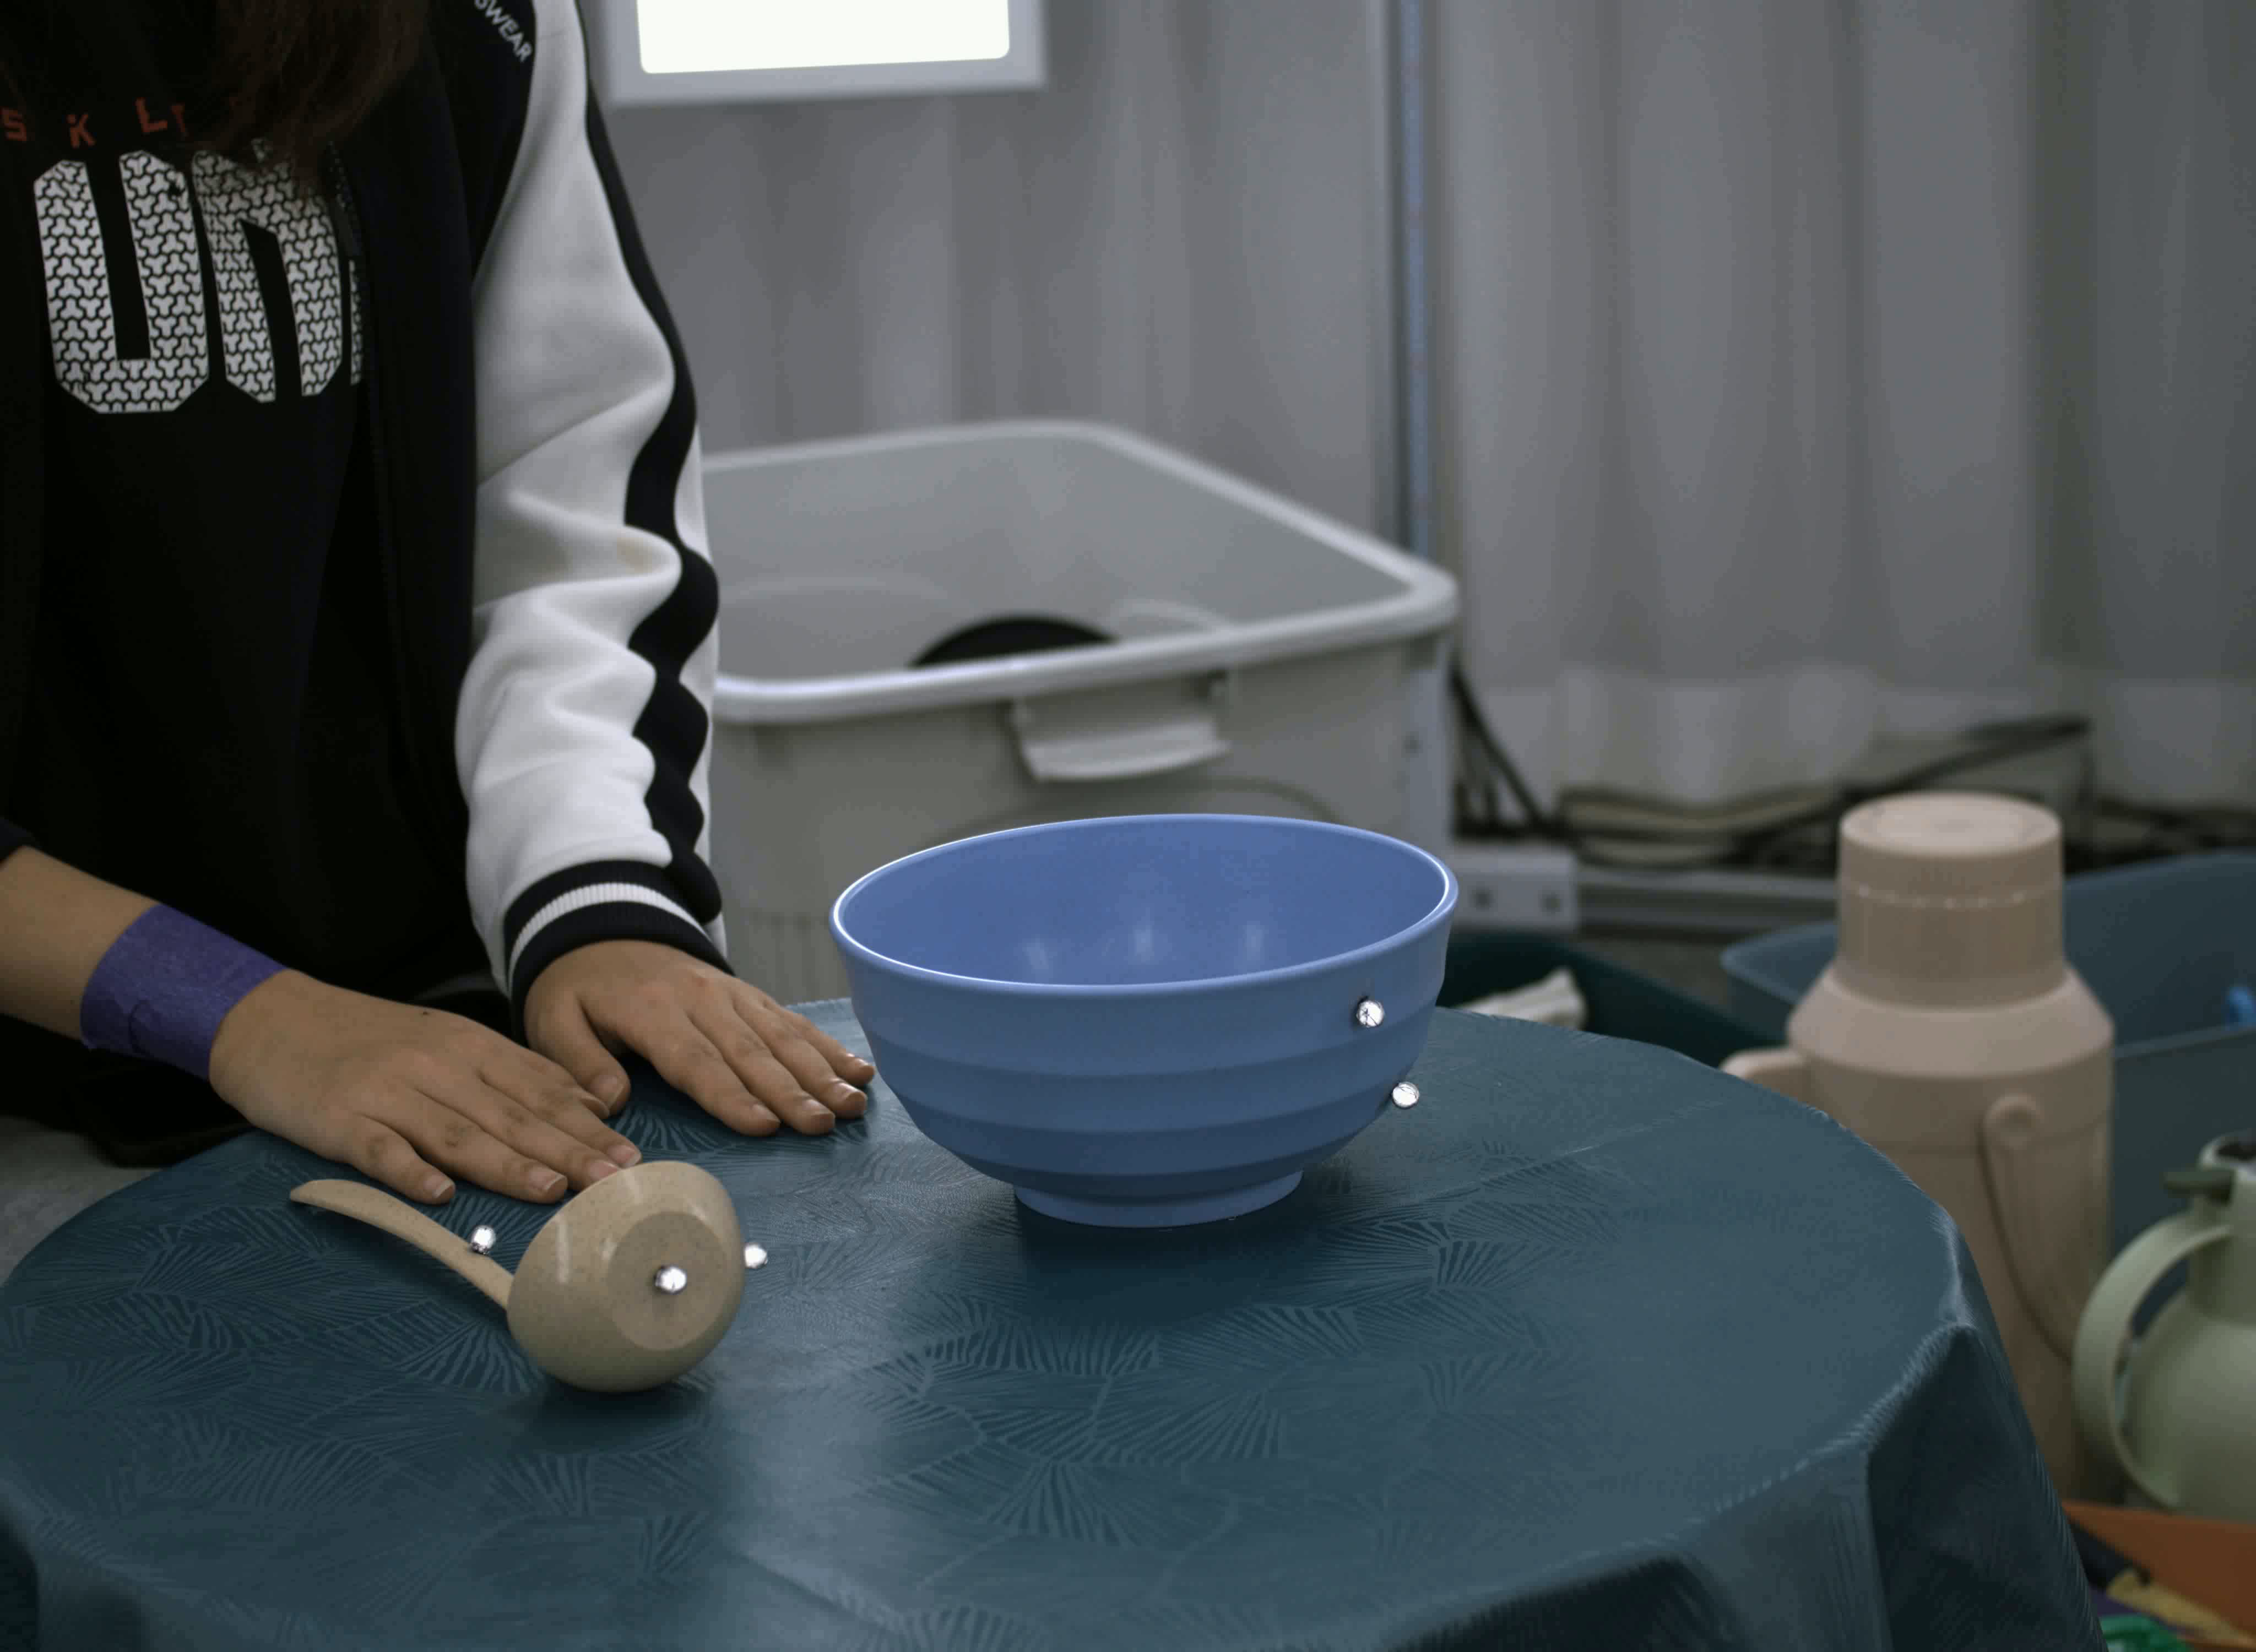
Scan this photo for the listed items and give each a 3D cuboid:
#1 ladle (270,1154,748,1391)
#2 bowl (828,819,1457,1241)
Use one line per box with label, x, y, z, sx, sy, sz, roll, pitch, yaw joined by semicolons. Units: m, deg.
ladle;-0.198;0.108;1.637;0.072;0.072;0.256;-11;17;-33
bowl;0.007;0.070;1.711;0.196;0.095;0.198;-4;15;1
